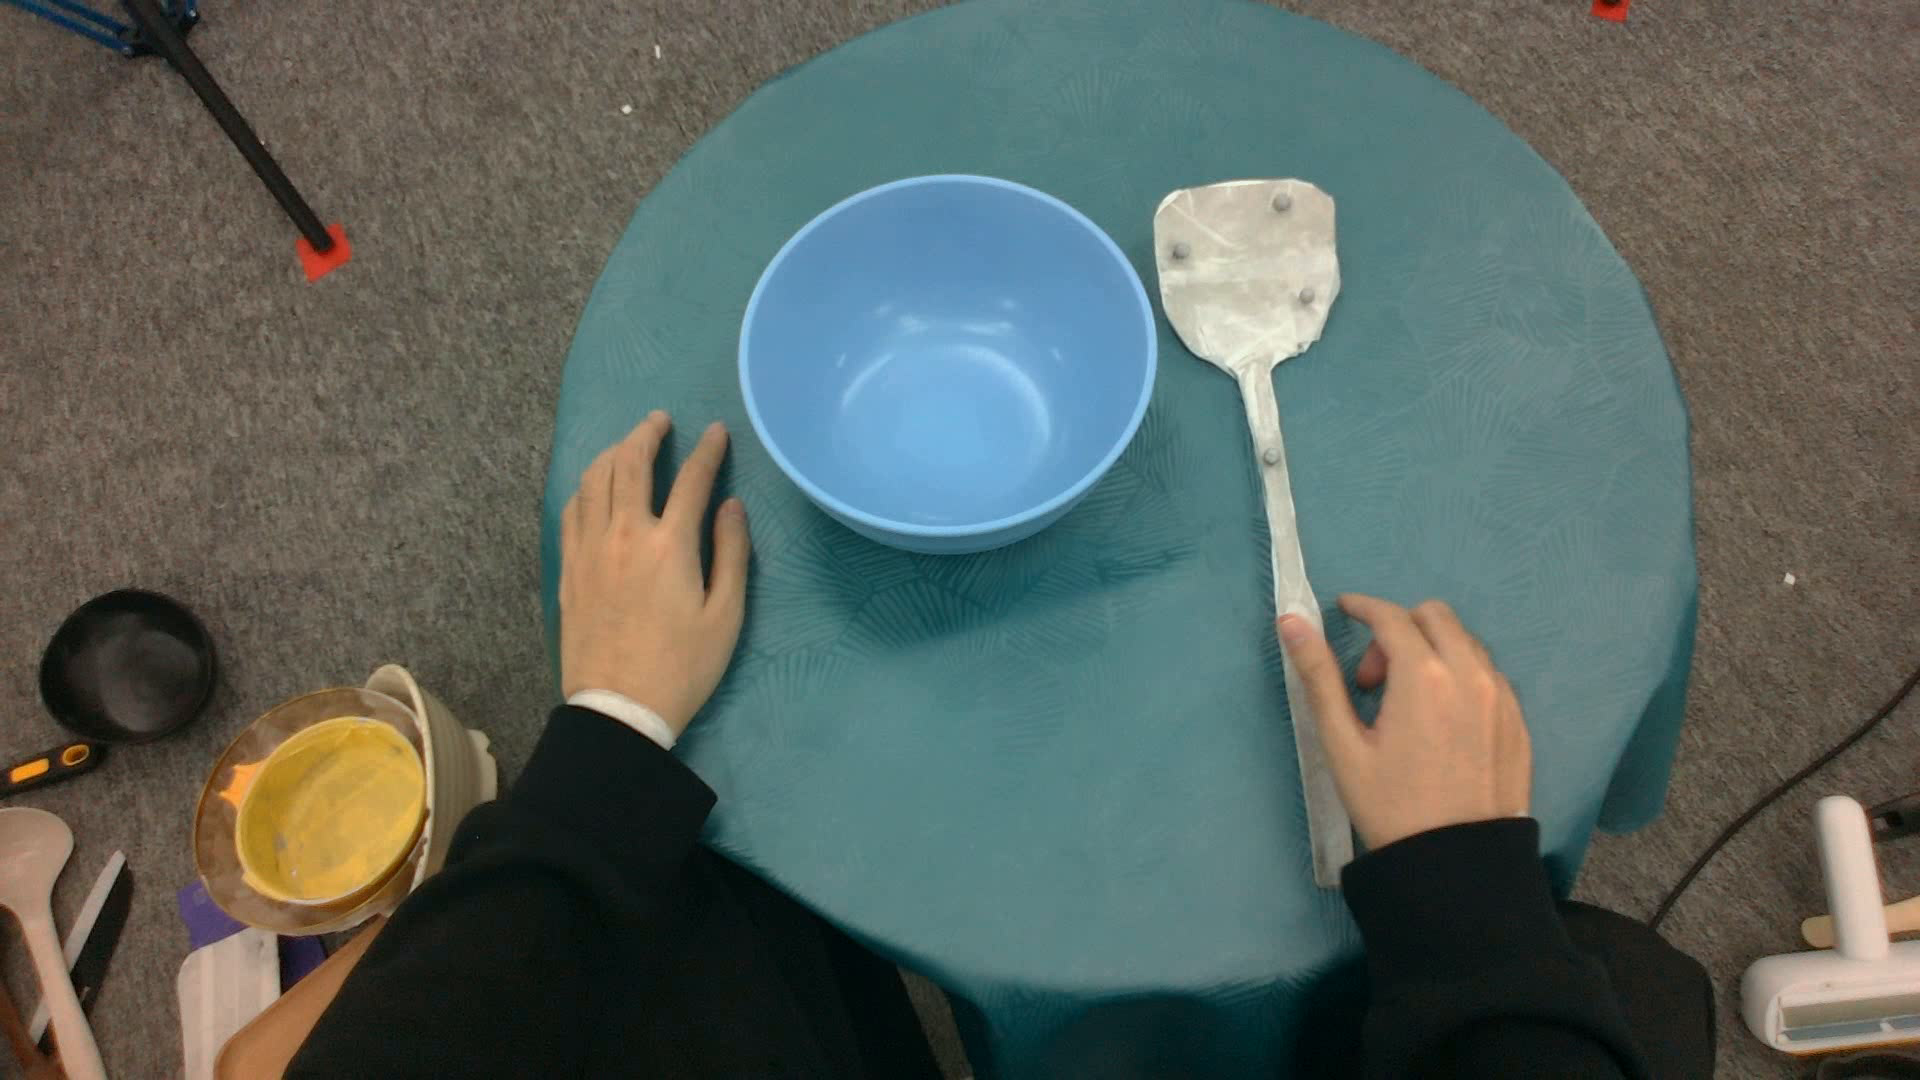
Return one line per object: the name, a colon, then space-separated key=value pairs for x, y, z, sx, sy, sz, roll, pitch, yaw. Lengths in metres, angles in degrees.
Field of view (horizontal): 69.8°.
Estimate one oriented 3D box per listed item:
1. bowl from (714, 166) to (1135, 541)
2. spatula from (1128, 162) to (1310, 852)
bowl: x=-0.016 y=-0.078 z=0.684 sx=0.196 sy=0.095 sz=0.197 roll=0 pitch=65 yaw=0
spatula: x=0.146 y=-0.030 z=0.692 sx=0.099 sy=0.044 sz=0.366 roll=-2 pitch=65 yaw=-3
